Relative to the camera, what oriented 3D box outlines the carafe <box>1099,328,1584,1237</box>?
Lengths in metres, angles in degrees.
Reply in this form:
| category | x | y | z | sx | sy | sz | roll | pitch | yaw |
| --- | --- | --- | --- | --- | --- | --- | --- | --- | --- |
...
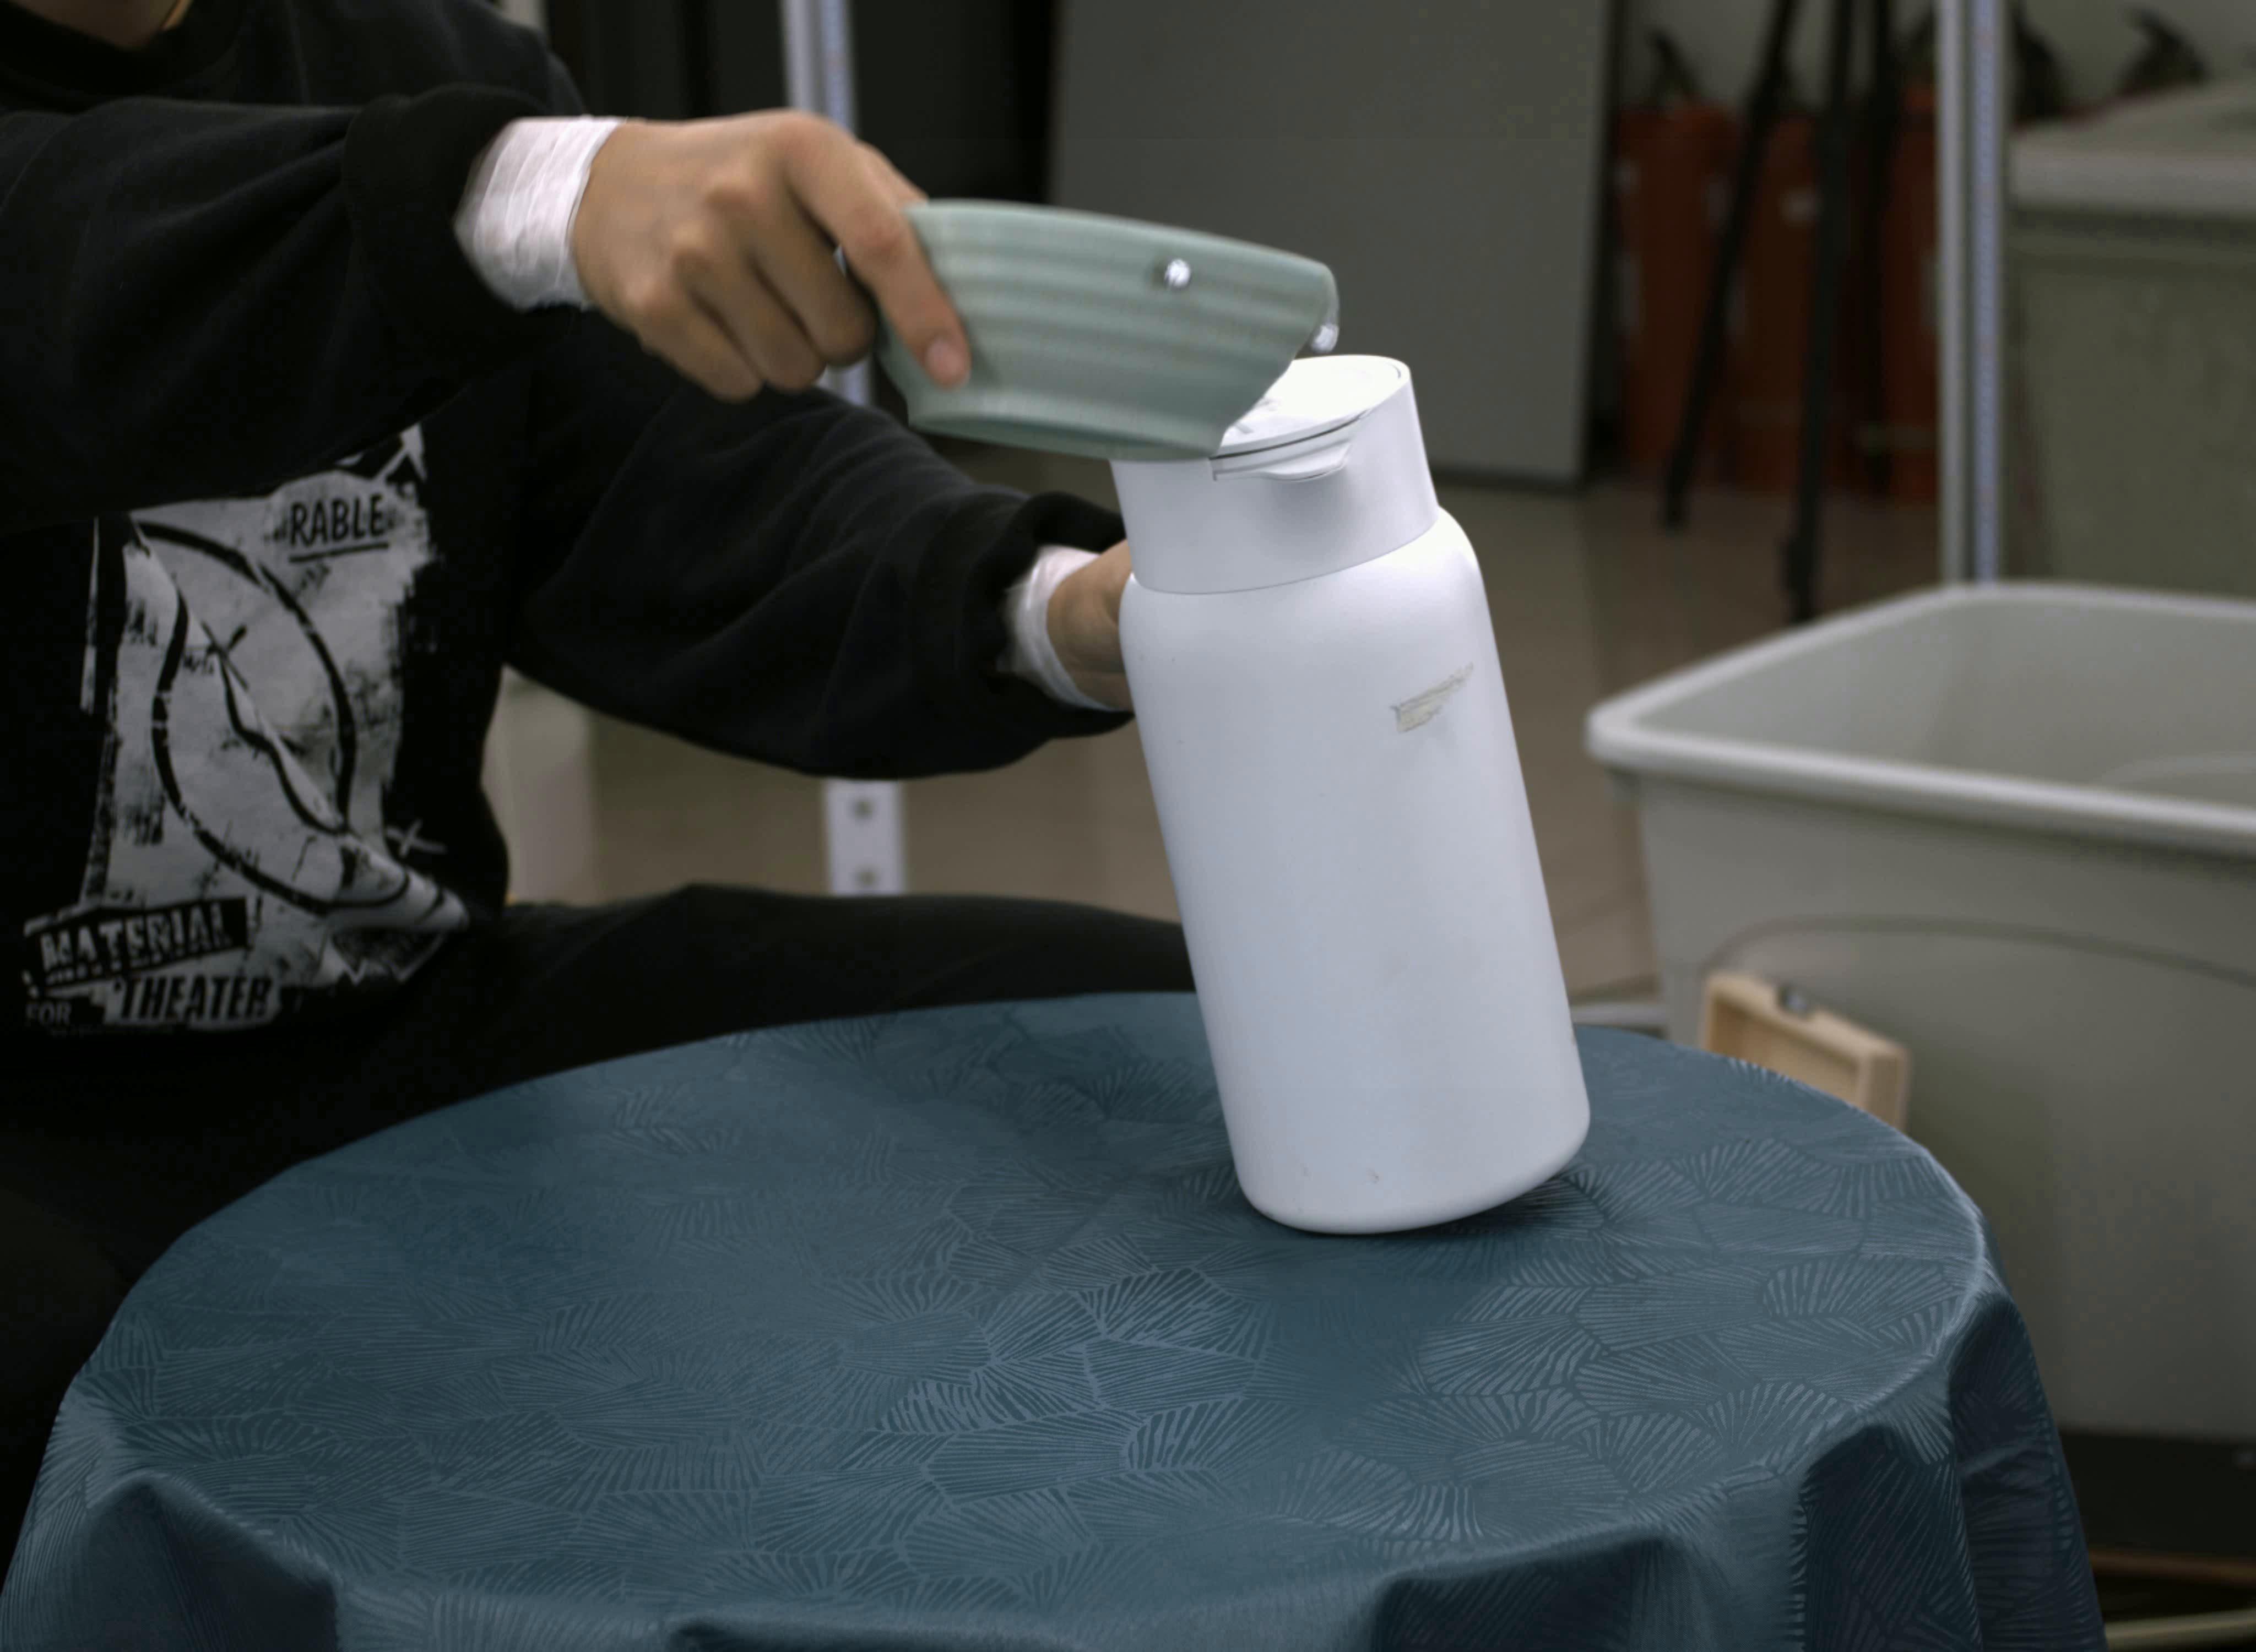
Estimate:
| category | x | y | z | sx | sy | sz | roll | pitch | yaw |
| --- | --- | --- | --- | --- | --- | --- | --- | --- | --- |
| carafe | 0.060 | -0.016 | 1.729 | 0.122 | 0.271 | 0.174 | -18 | 17 | -9 |

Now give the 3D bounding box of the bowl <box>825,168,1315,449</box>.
| category | x | y | z | sx | sy | sz | roll | pitch | yaw |
| --- | --- | --- | --- | --- | --- | --- | --- | --- | --- |
| bowl | -0.020 | -0.147 | 1.579 | 0.149 | 0.059 | 0.151 | 7 | -4 | 0 |
